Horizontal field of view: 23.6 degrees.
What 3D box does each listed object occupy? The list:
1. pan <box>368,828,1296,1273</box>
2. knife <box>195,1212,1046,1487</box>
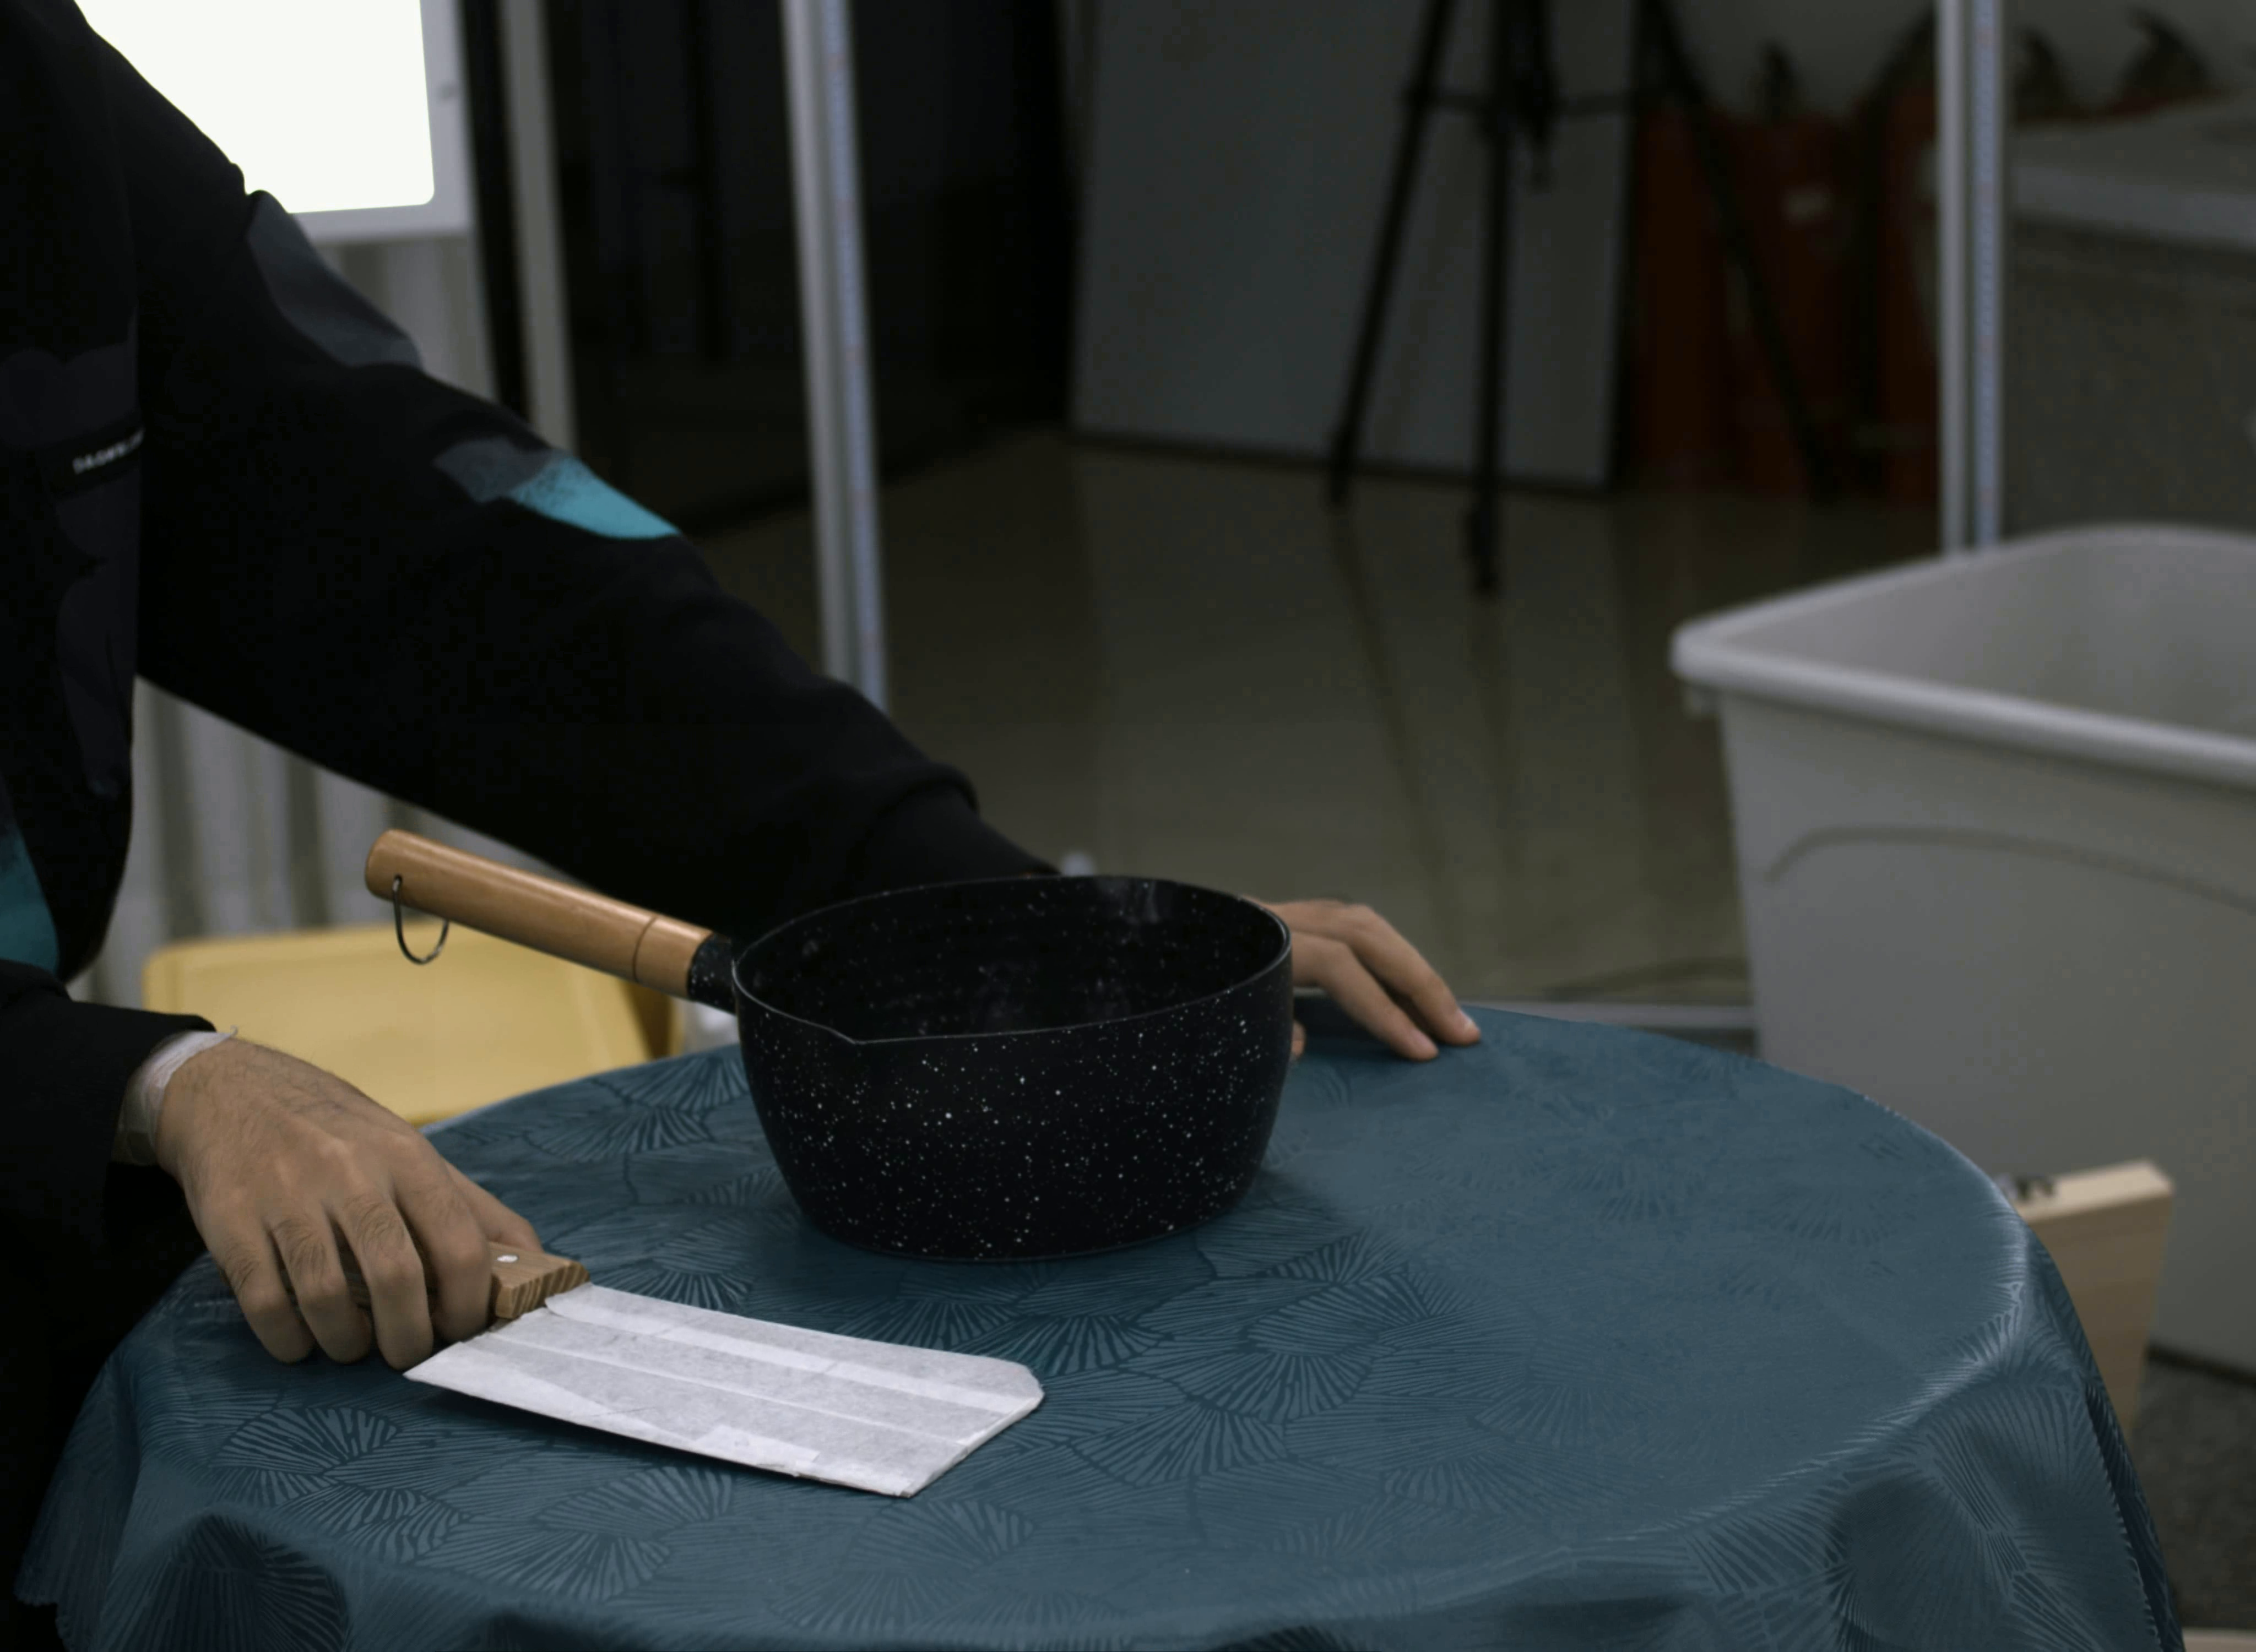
[{"bbox_3d":[-0.106,0.066,1.798,0.343,0.109,0.205,4,17,26],"label":"pan"},{"bbox_3d":[-0.162,0.156,1.639,0.317,0.022,0.112,9,19,36],"label":"knife"}]
